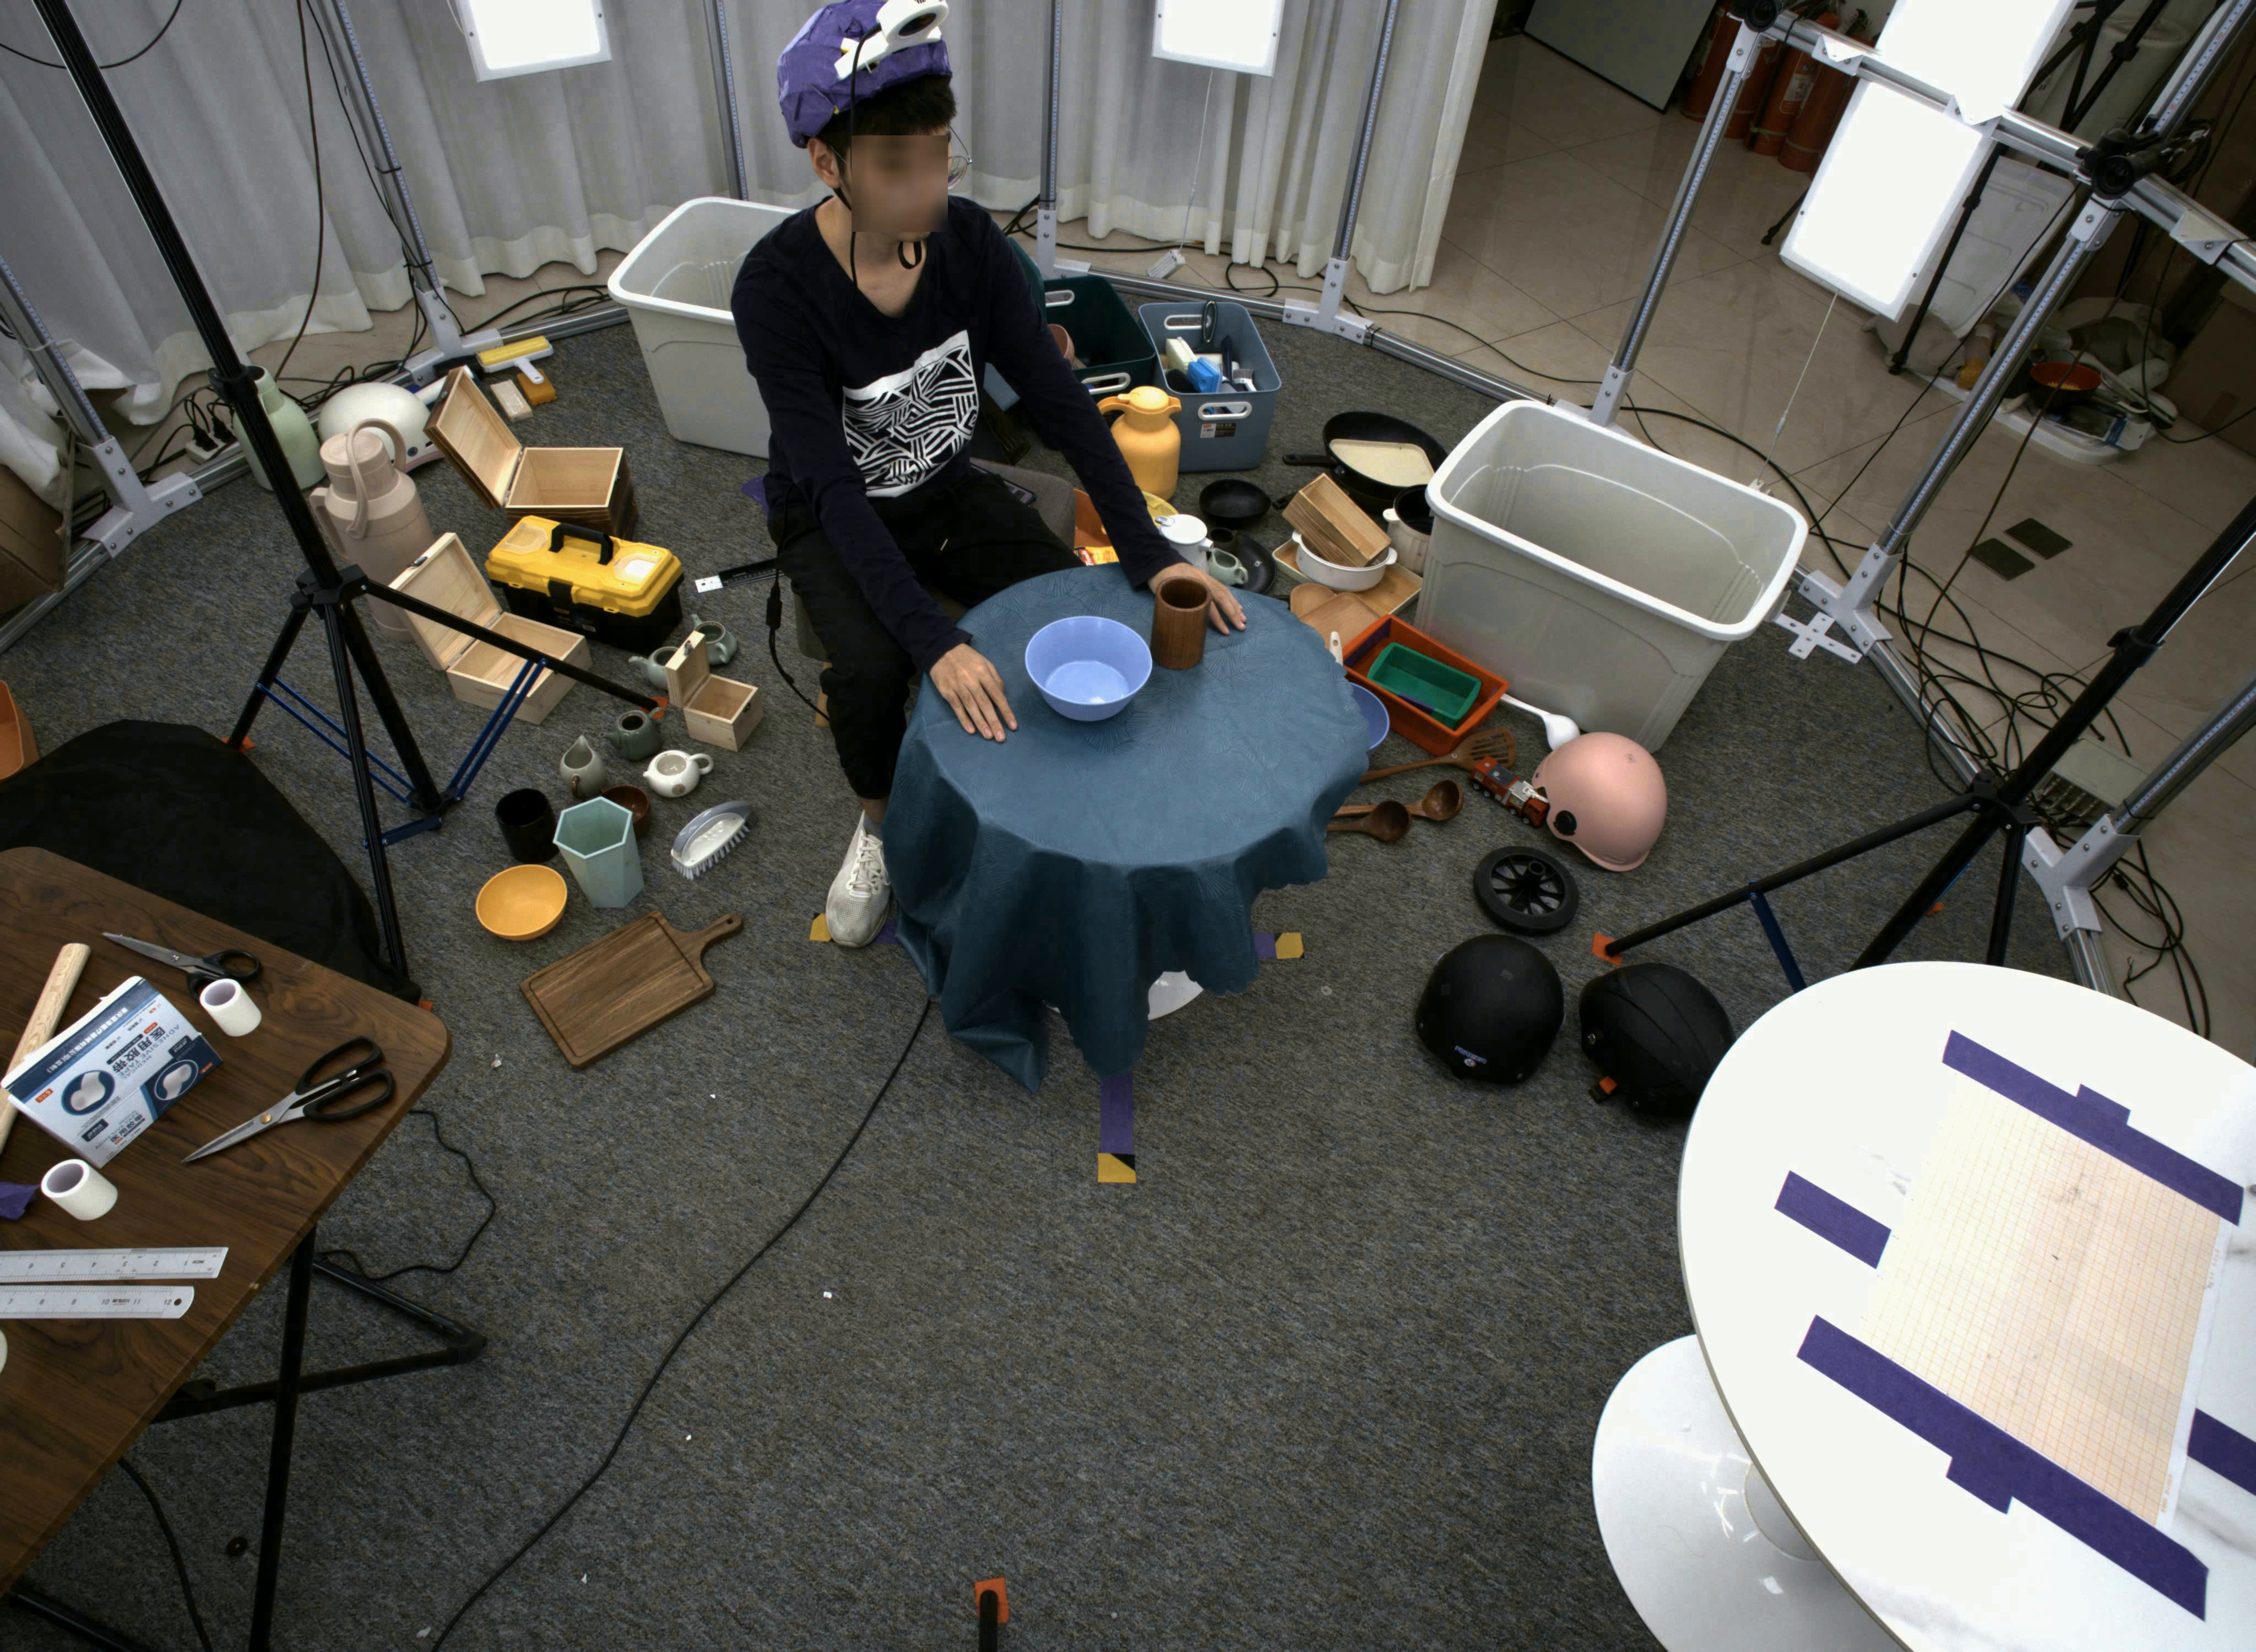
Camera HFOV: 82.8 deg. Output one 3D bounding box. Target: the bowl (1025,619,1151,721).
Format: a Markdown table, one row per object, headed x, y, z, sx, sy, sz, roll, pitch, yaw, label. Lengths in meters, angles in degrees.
| x | y | z | sx | sy | sz | roll | pitch | yaw | label |
| --- | --- | --- | --- | --- | --- | --- | --- | --- | --- |
| -0.057 | -0.211 | 1.802 | 0.176 | 0.068 | 0.180 | 2 | 48 | -2 | bowl |

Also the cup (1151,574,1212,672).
| x | y | z | sx | sy | sz | roll | pitch | yaw | label |
| --- | --- | --- | --- | --- | --- | --- | --- | --- | --- |
| 0.075 | -0.292 | 1.852 | 0.087 | 0.115 | 0.090 | 1 | 46 | -2 | cup |
